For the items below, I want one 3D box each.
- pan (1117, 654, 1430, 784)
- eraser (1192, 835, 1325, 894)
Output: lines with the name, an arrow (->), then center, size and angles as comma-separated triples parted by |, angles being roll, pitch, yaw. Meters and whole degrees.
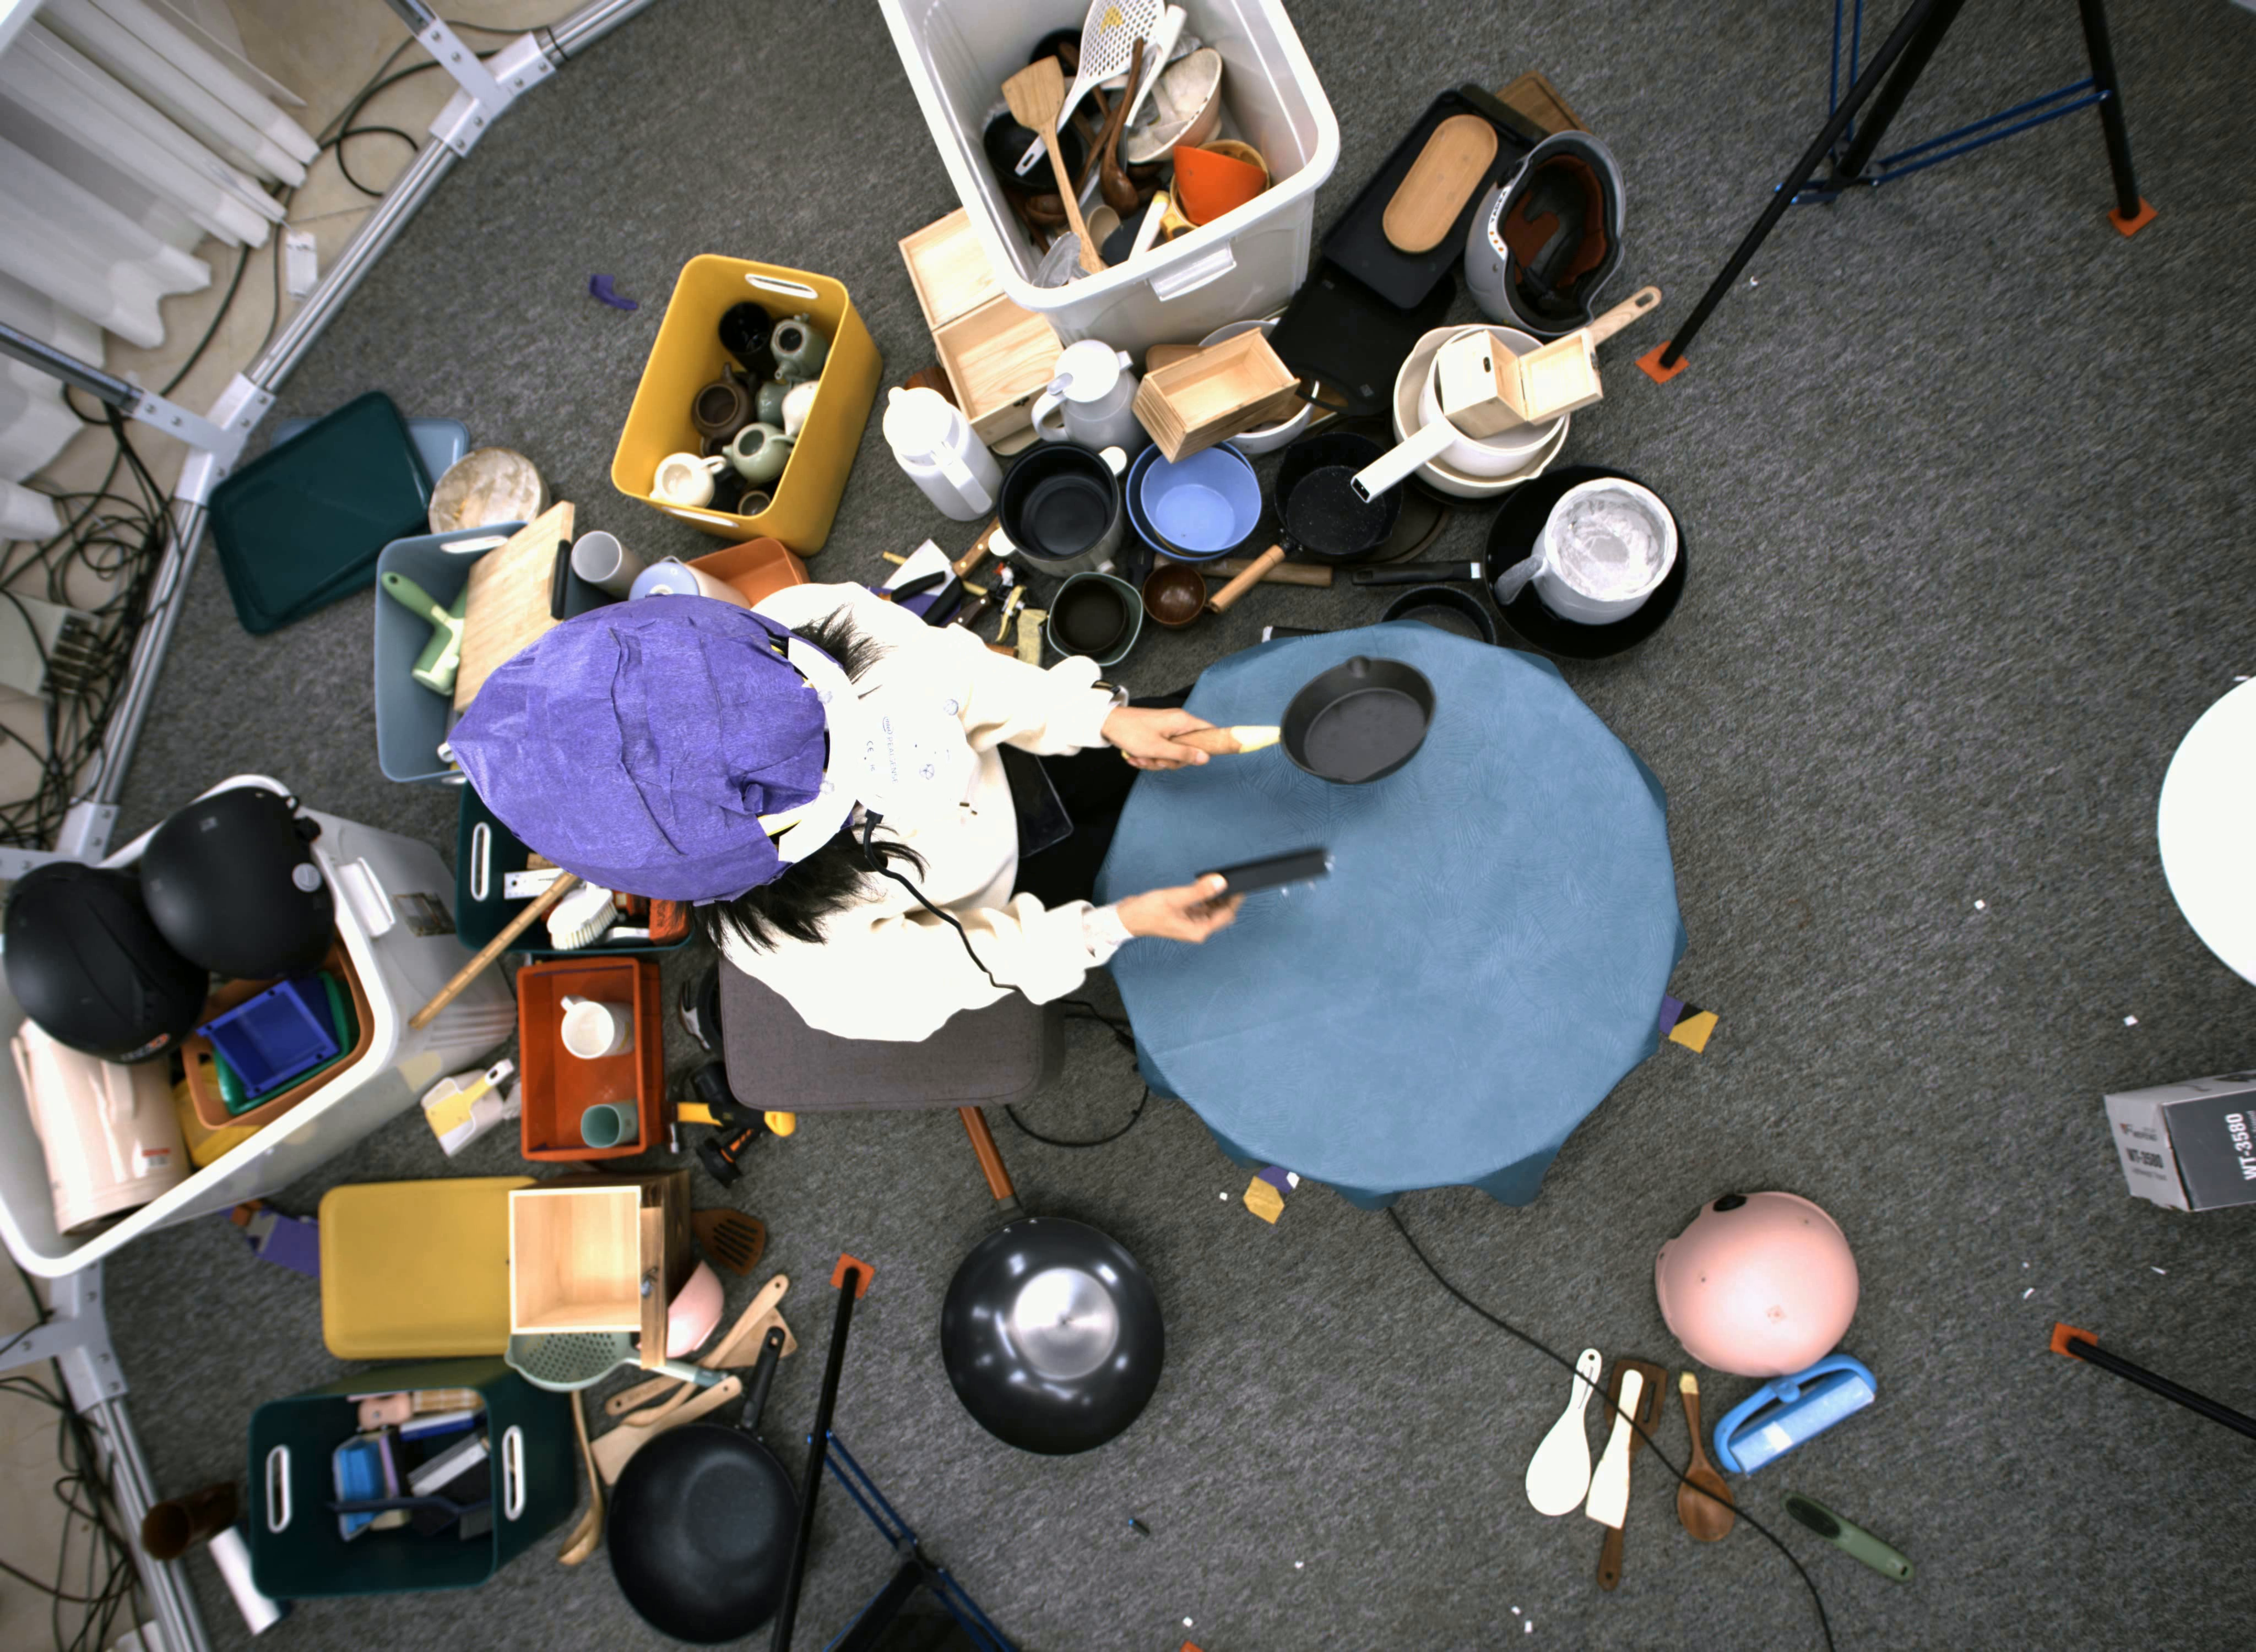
pan -> 0.144, -0.093, 1.382 | 0.327, 0.050, 0.164 | -8, 50, 24
eraser -> 0.127, 0.037, 1.351 | 0.126, 0.053, 0.030 | -15, 88, 14
